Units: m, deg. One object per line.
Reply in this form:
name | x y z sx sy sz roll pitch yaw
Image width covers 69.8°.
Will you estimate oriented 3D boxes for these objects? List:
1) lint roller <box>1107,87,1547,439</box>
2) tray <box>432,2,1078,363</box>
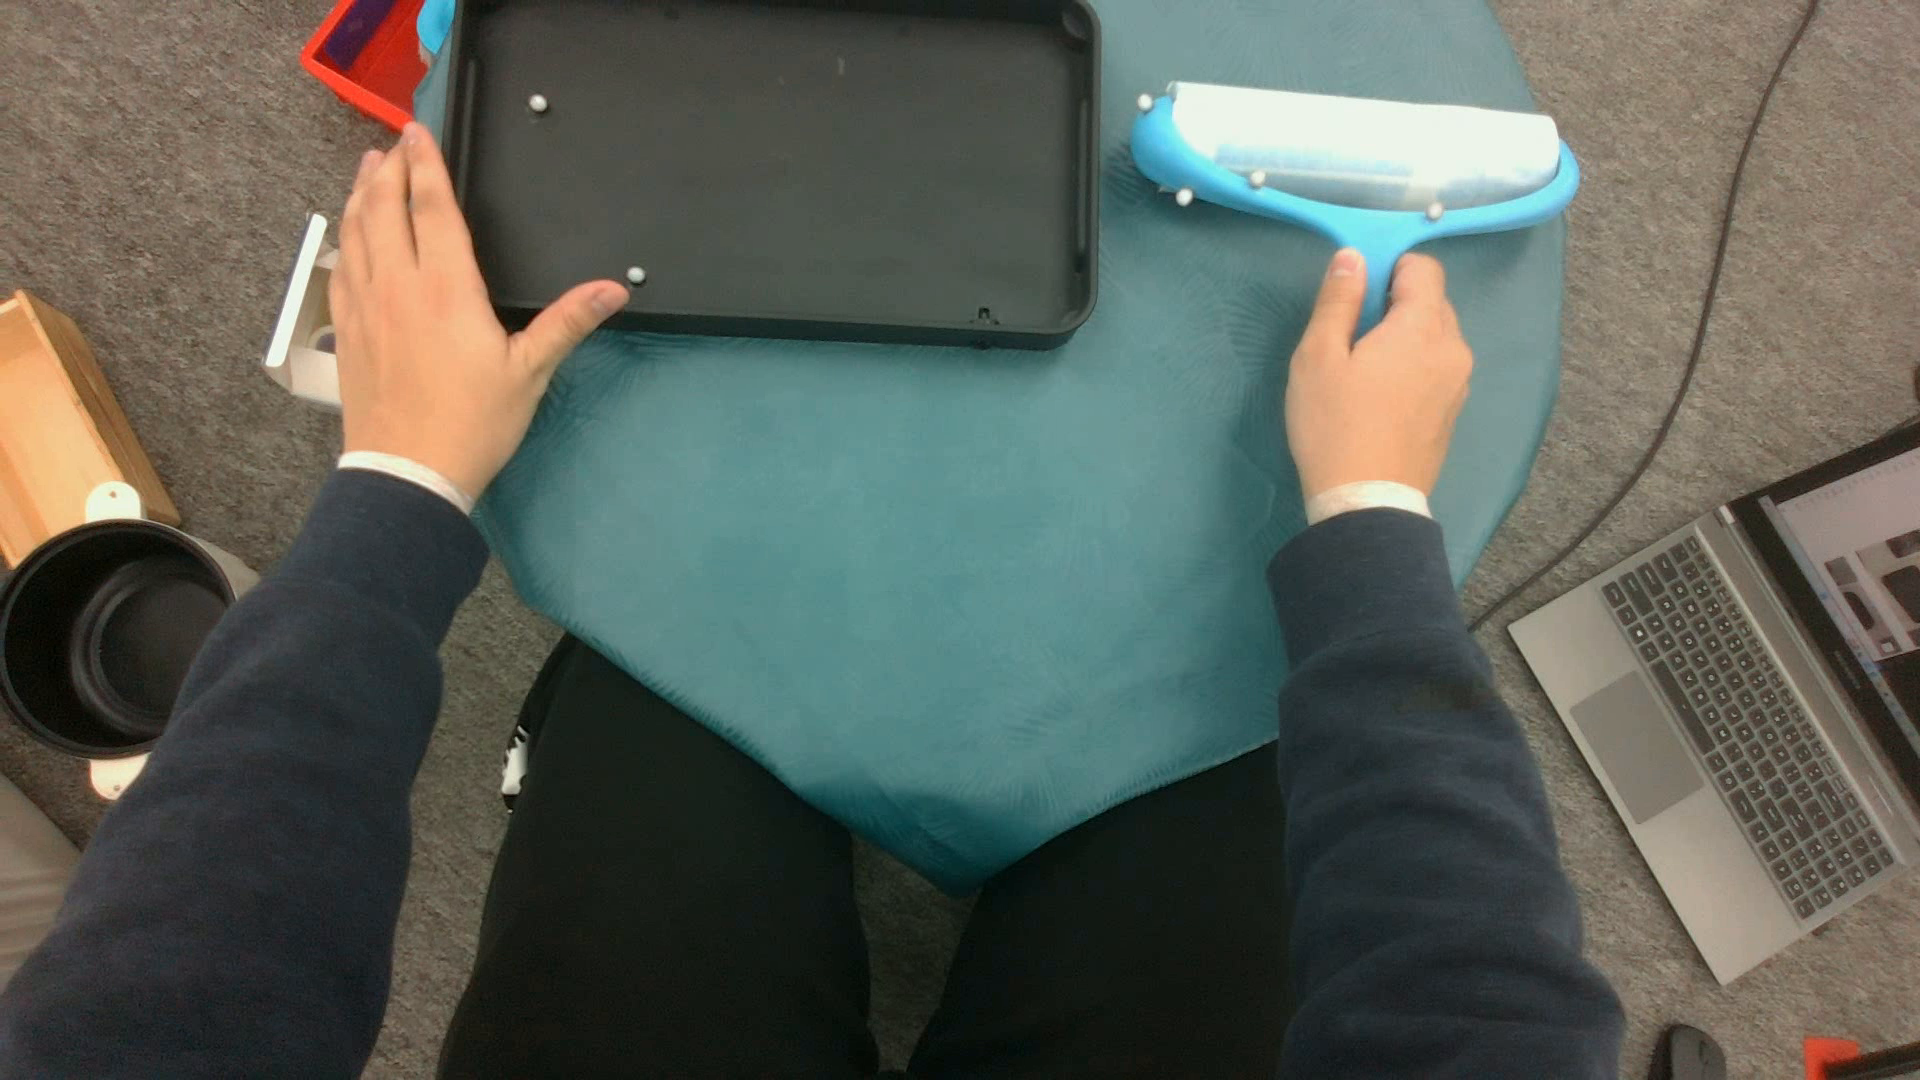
lint roller | 0.192 -0.147 0.706 0.229 0.068 0.180 0 77 -5
tray | -0.102 -0.183 0.710 0.318 0.037 0.184 -1 79 -6
